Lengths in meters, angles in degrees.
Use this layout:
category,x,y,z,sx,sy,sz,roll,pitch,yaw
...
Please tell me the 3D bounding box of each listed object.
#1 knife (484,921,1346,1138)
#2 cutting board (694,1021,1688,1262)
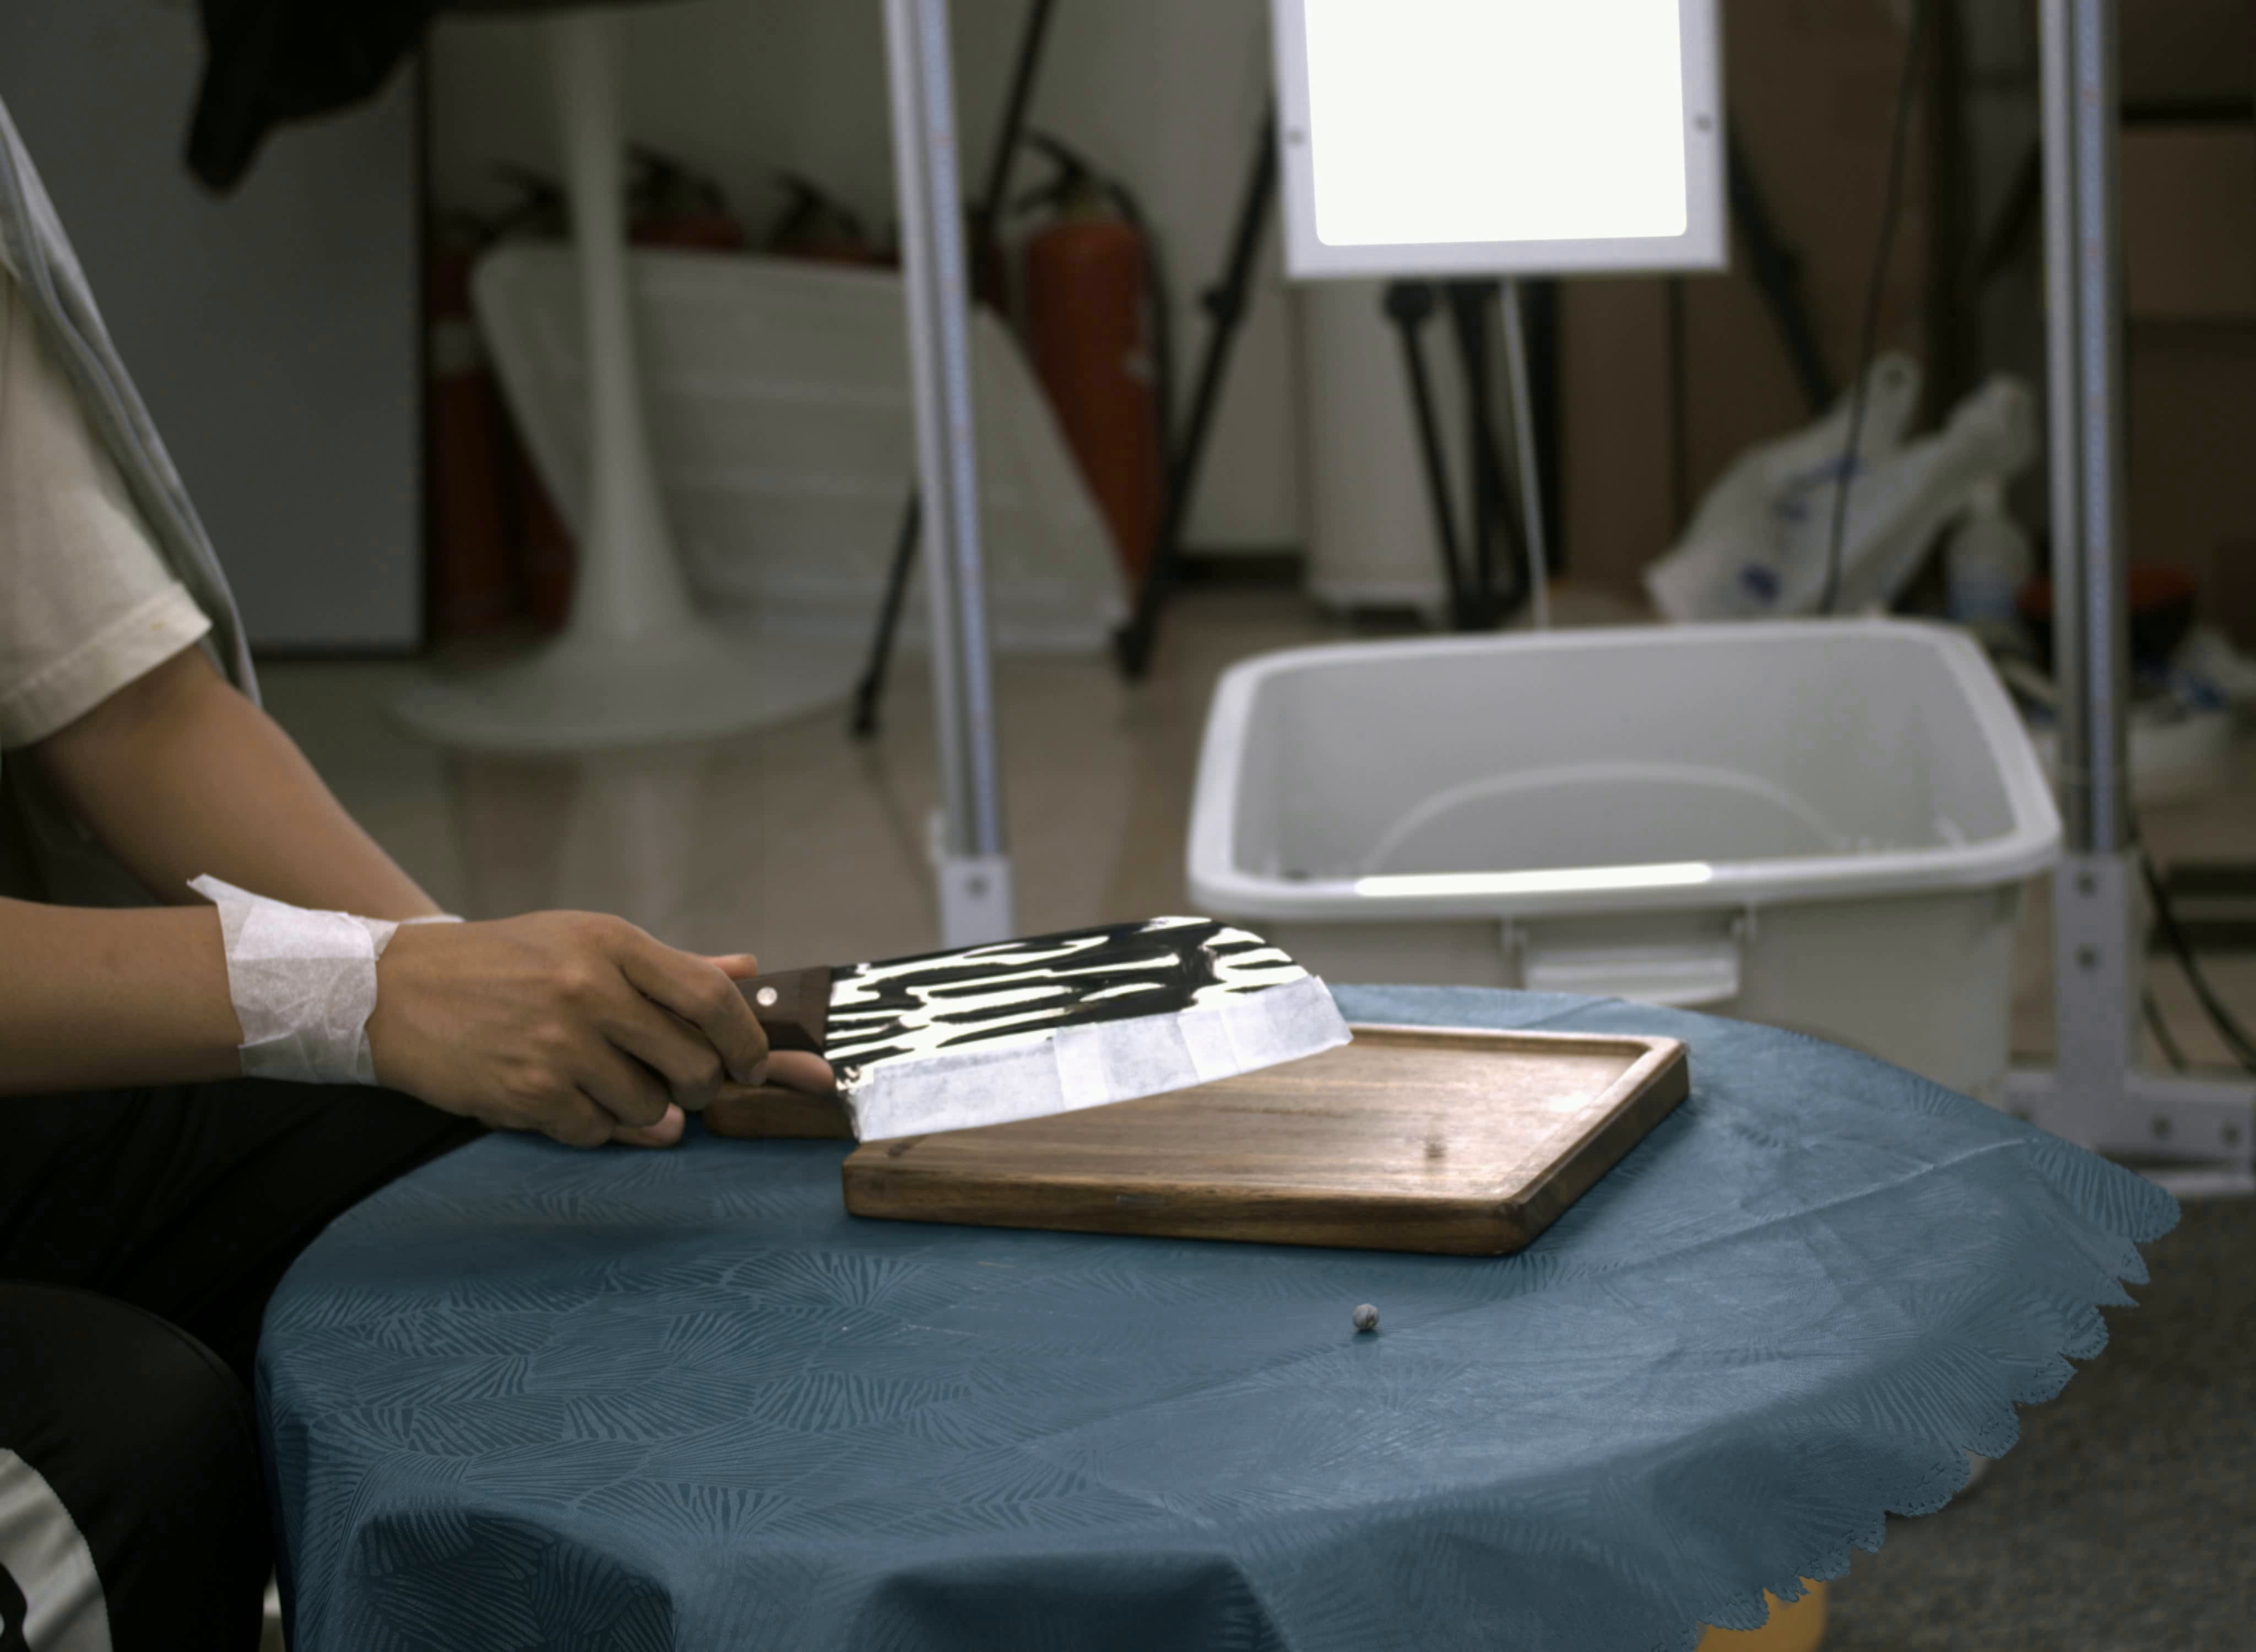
category,x,y,z,sx,sy,sz,roll,pitch,yaw
knife,-0.075,0.073,1.885,0.301,0.068,0.024,-7,-26,9
cutting board,0.006,0.106,1.947,0.358,0.023,0.197,0,16,25
